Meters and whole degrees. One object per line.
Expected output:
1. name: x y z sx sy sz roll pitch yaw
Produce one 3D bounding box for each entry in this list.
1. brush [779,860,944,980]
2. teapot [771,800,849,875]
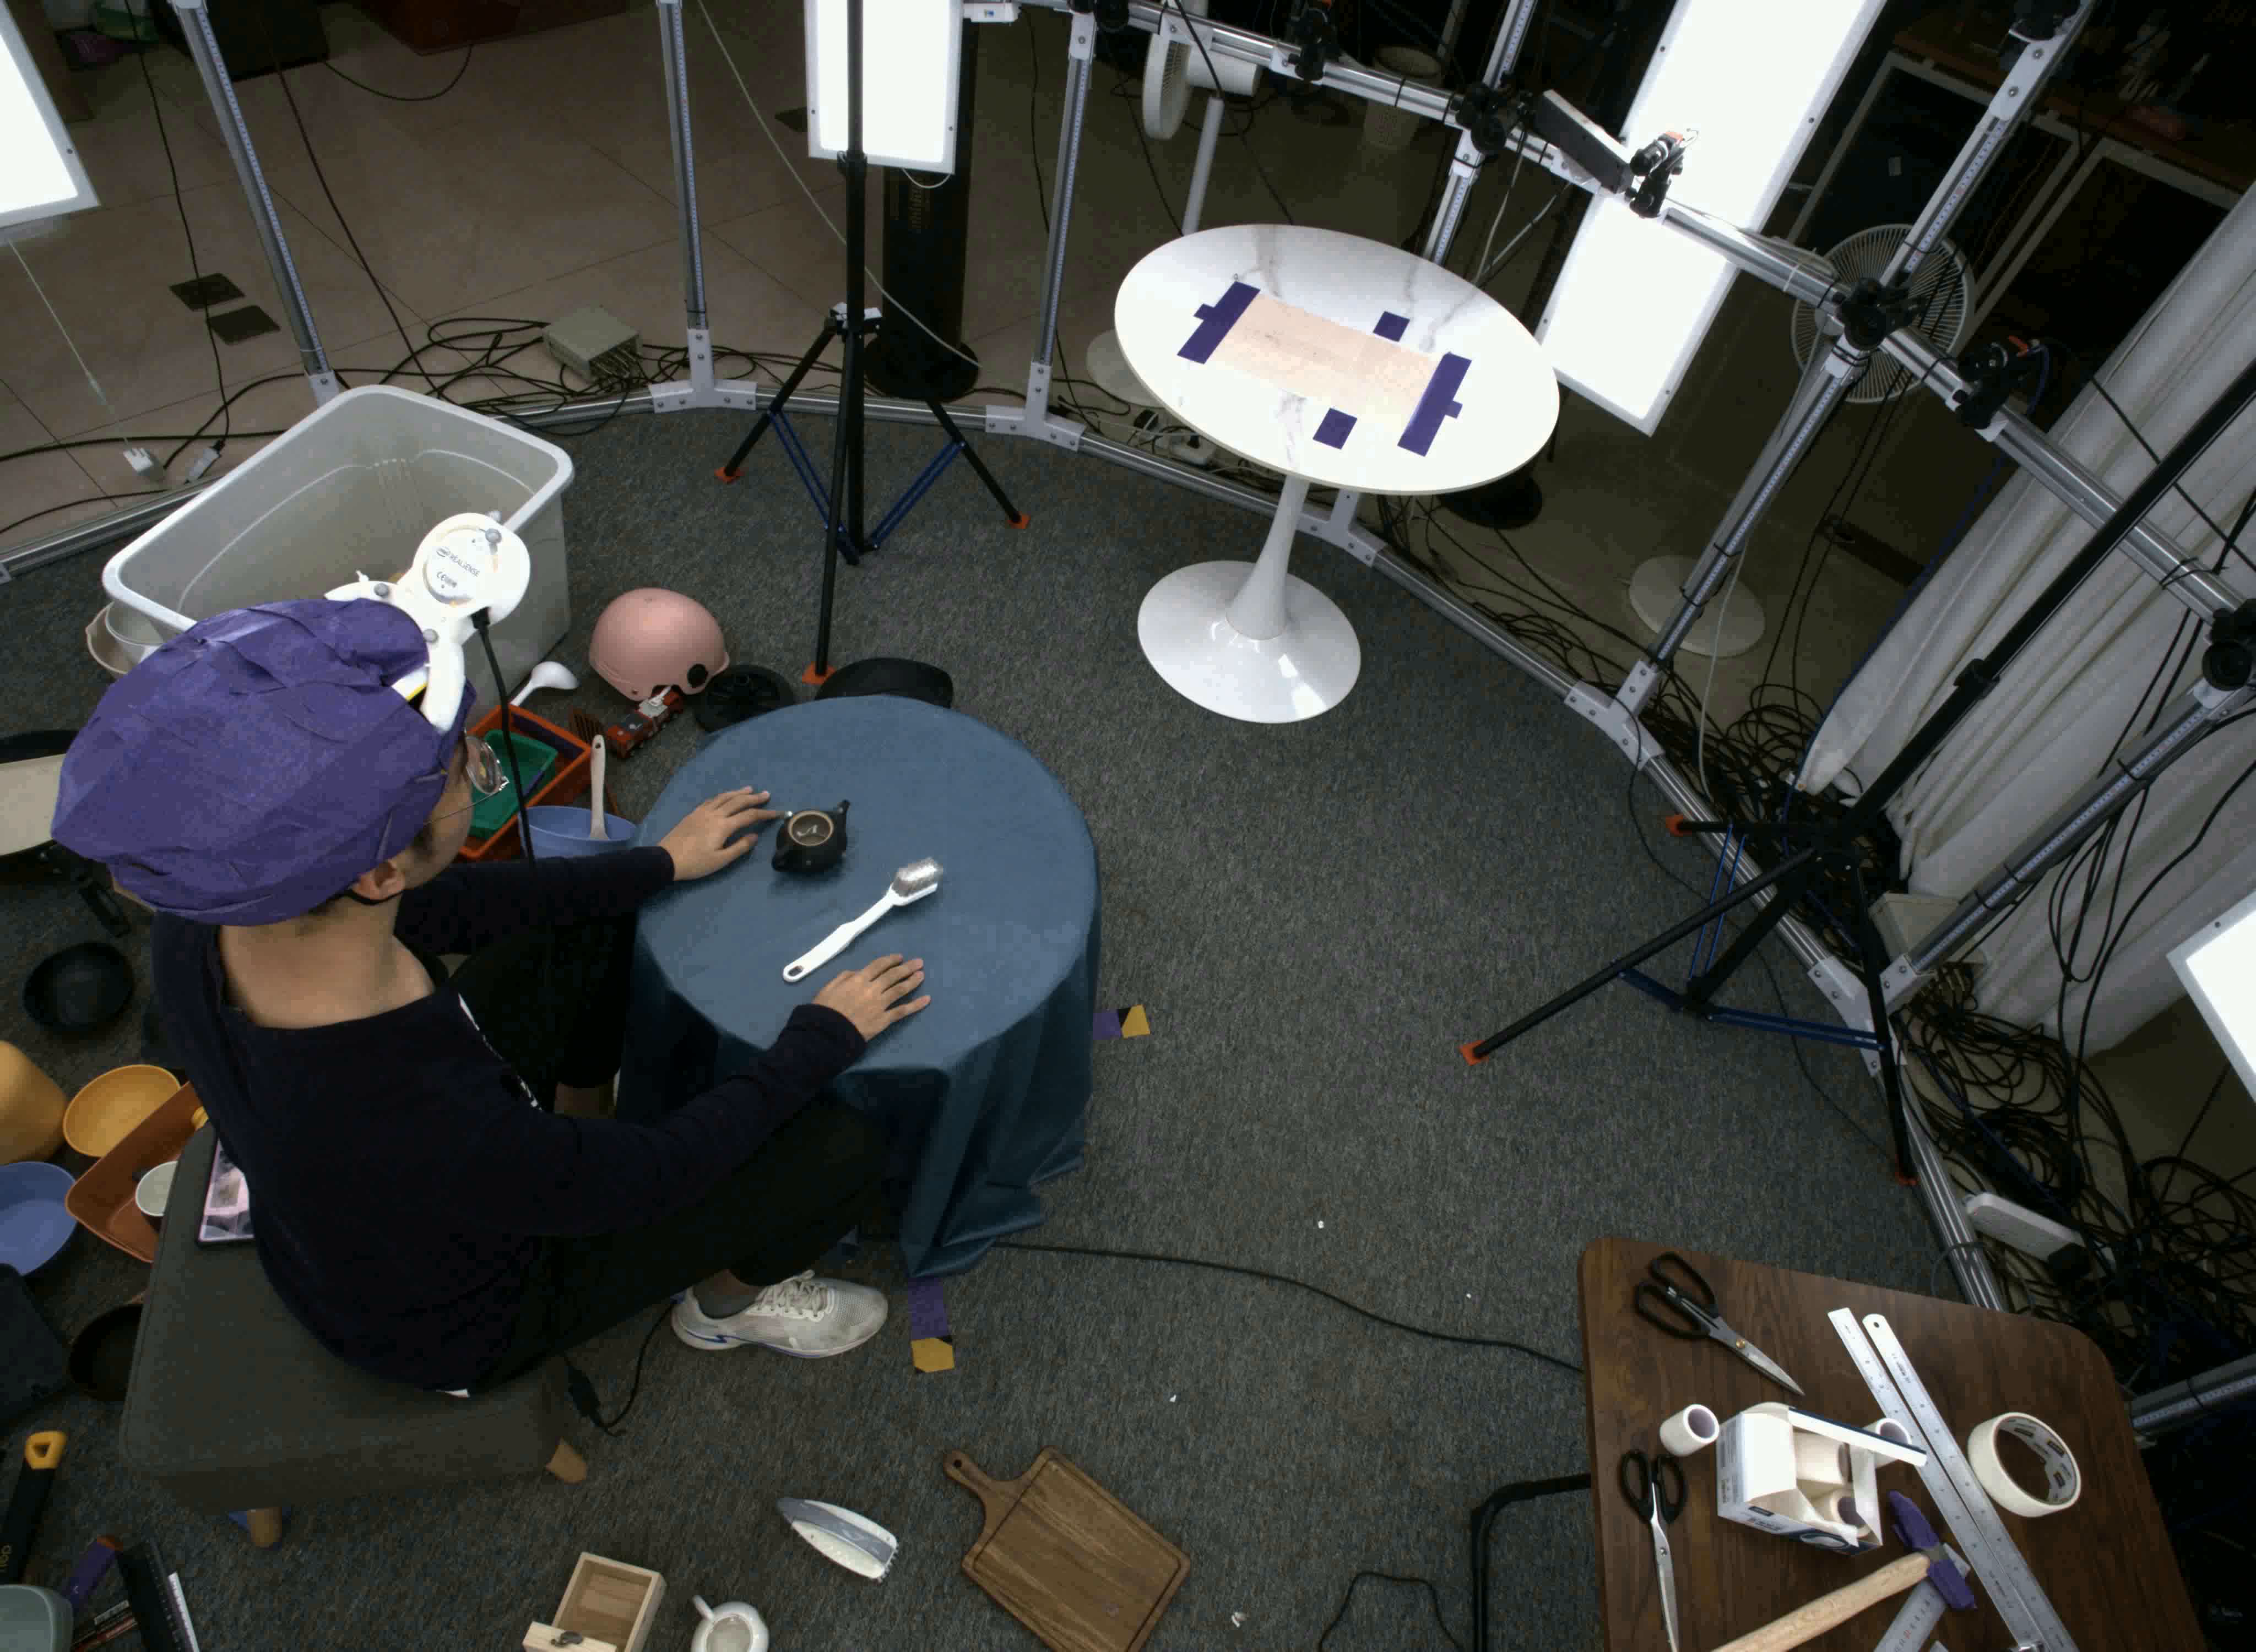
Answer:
1. brush: -0.334 0.113 1.634 0.244 0.051 0.034 -33 69 -32
2. teapot: -0.411 0.018 1.681 0.089 0.054 0.133 34 54 17
